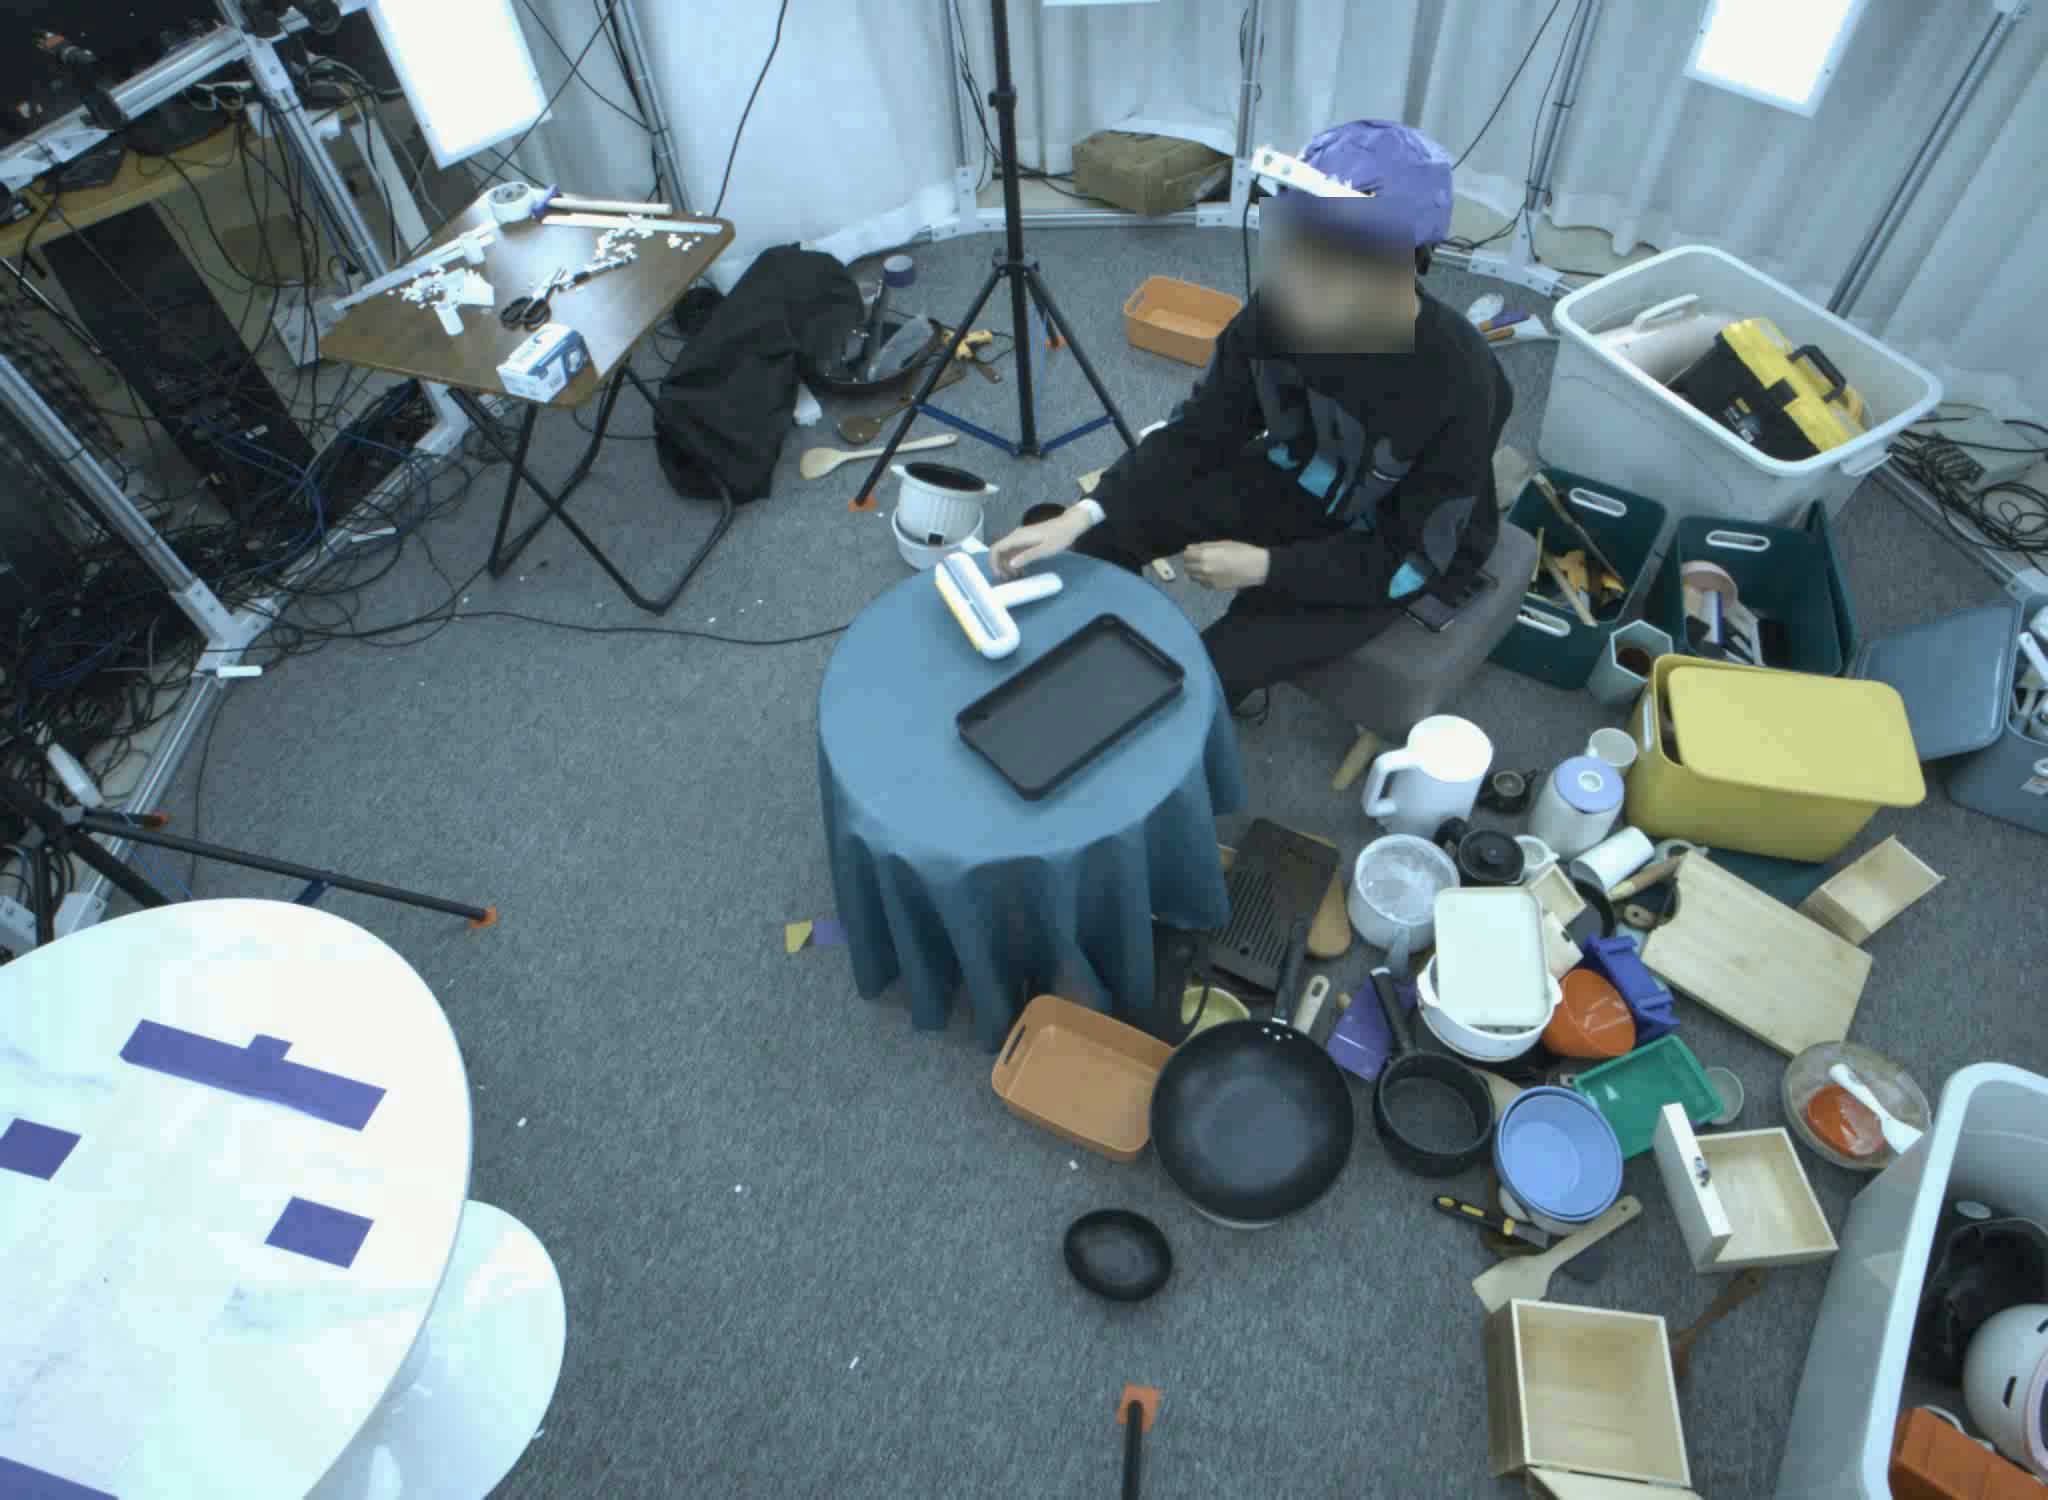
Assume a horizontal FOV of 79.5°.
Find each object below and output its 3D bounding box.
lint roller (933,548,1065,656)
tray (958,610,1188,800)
[{"bbox_3d":[-0.025,-0.245,1.917,0.194,0.075,0.190,-22,62,-15],"label":"lint roller"},{"bbox_3d":[0.074,-0.071,1.809,0.320,0.037,0.181,-38,61,-22],"label":"tray"}]
